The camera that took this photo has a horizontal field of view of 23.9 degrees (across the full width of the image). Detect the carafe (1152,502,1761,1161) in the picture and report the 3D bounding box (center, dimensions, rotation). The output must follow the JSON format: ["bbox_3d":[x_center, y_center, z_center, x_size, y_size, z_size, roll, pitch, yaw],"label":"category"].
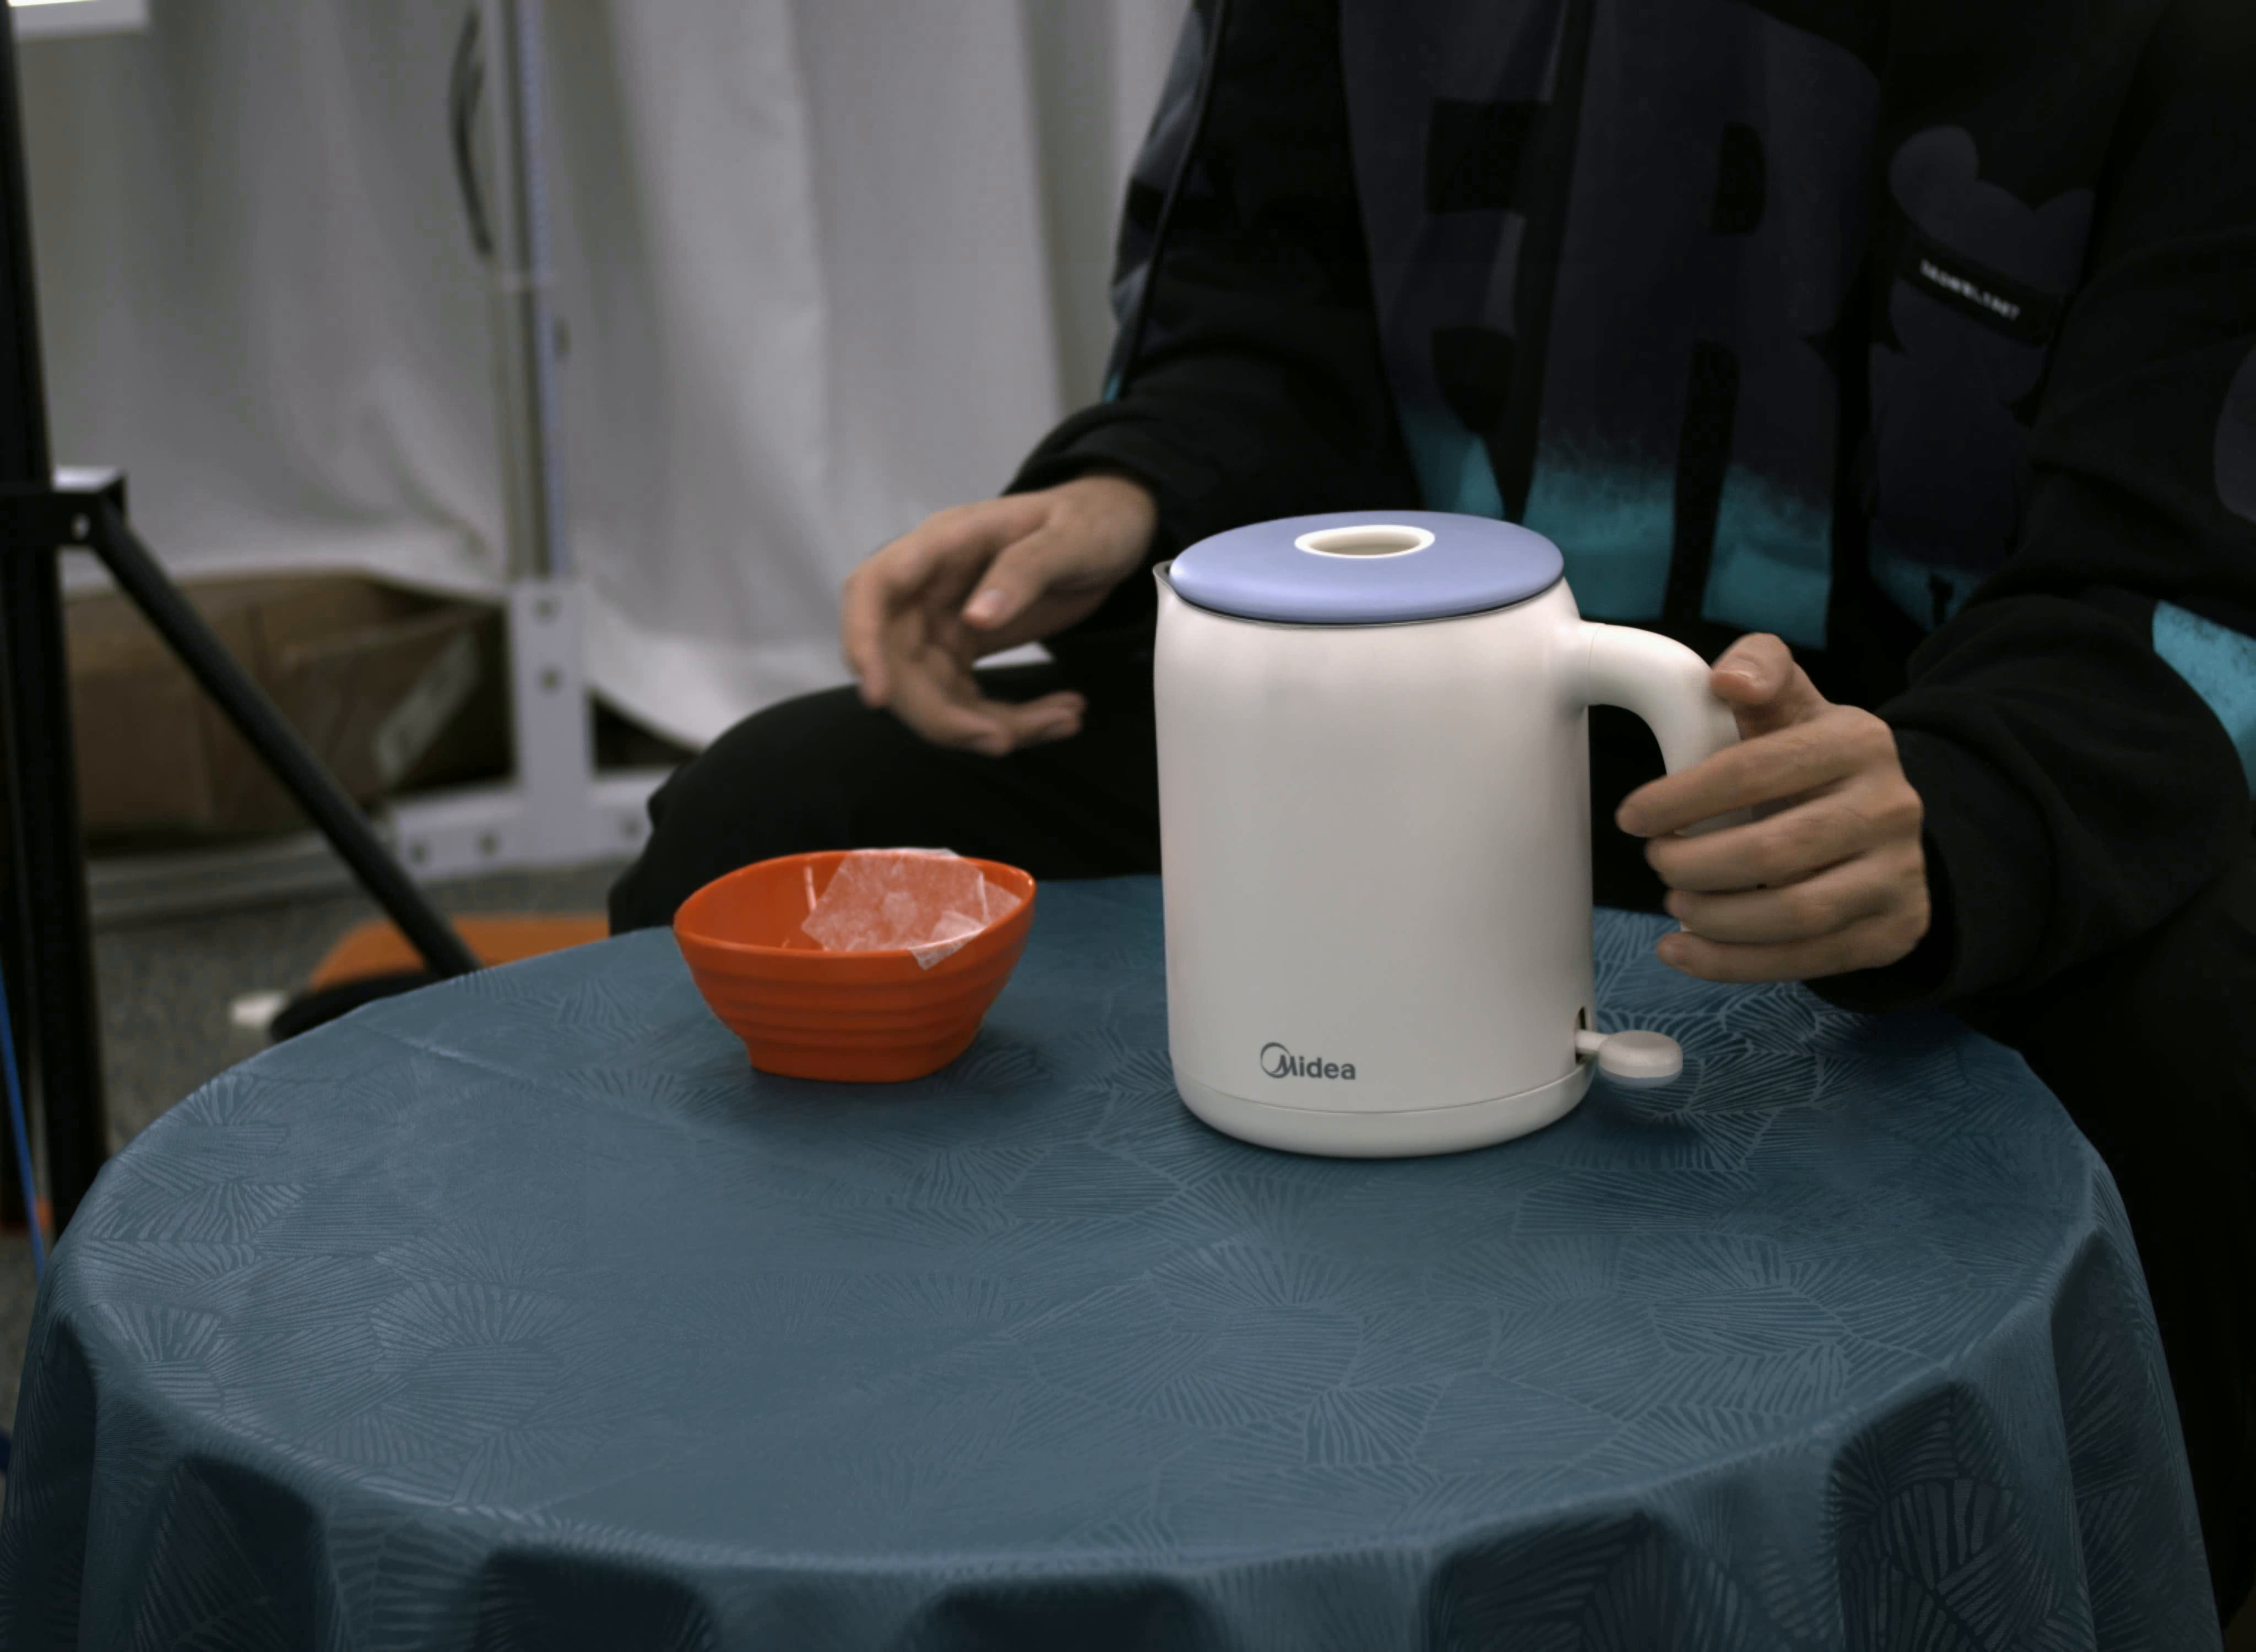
[{"bbox_3d":[0.098,0.003,1.599,0.193,0.182,0.130,6,19,22],"label":"carafe"}]

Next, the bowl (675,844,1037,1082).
[{"bbox_3d":[-0.084,0.046,1.694,0.118,0.051,0.119,-5,17,0],"label":"bowl"}]
